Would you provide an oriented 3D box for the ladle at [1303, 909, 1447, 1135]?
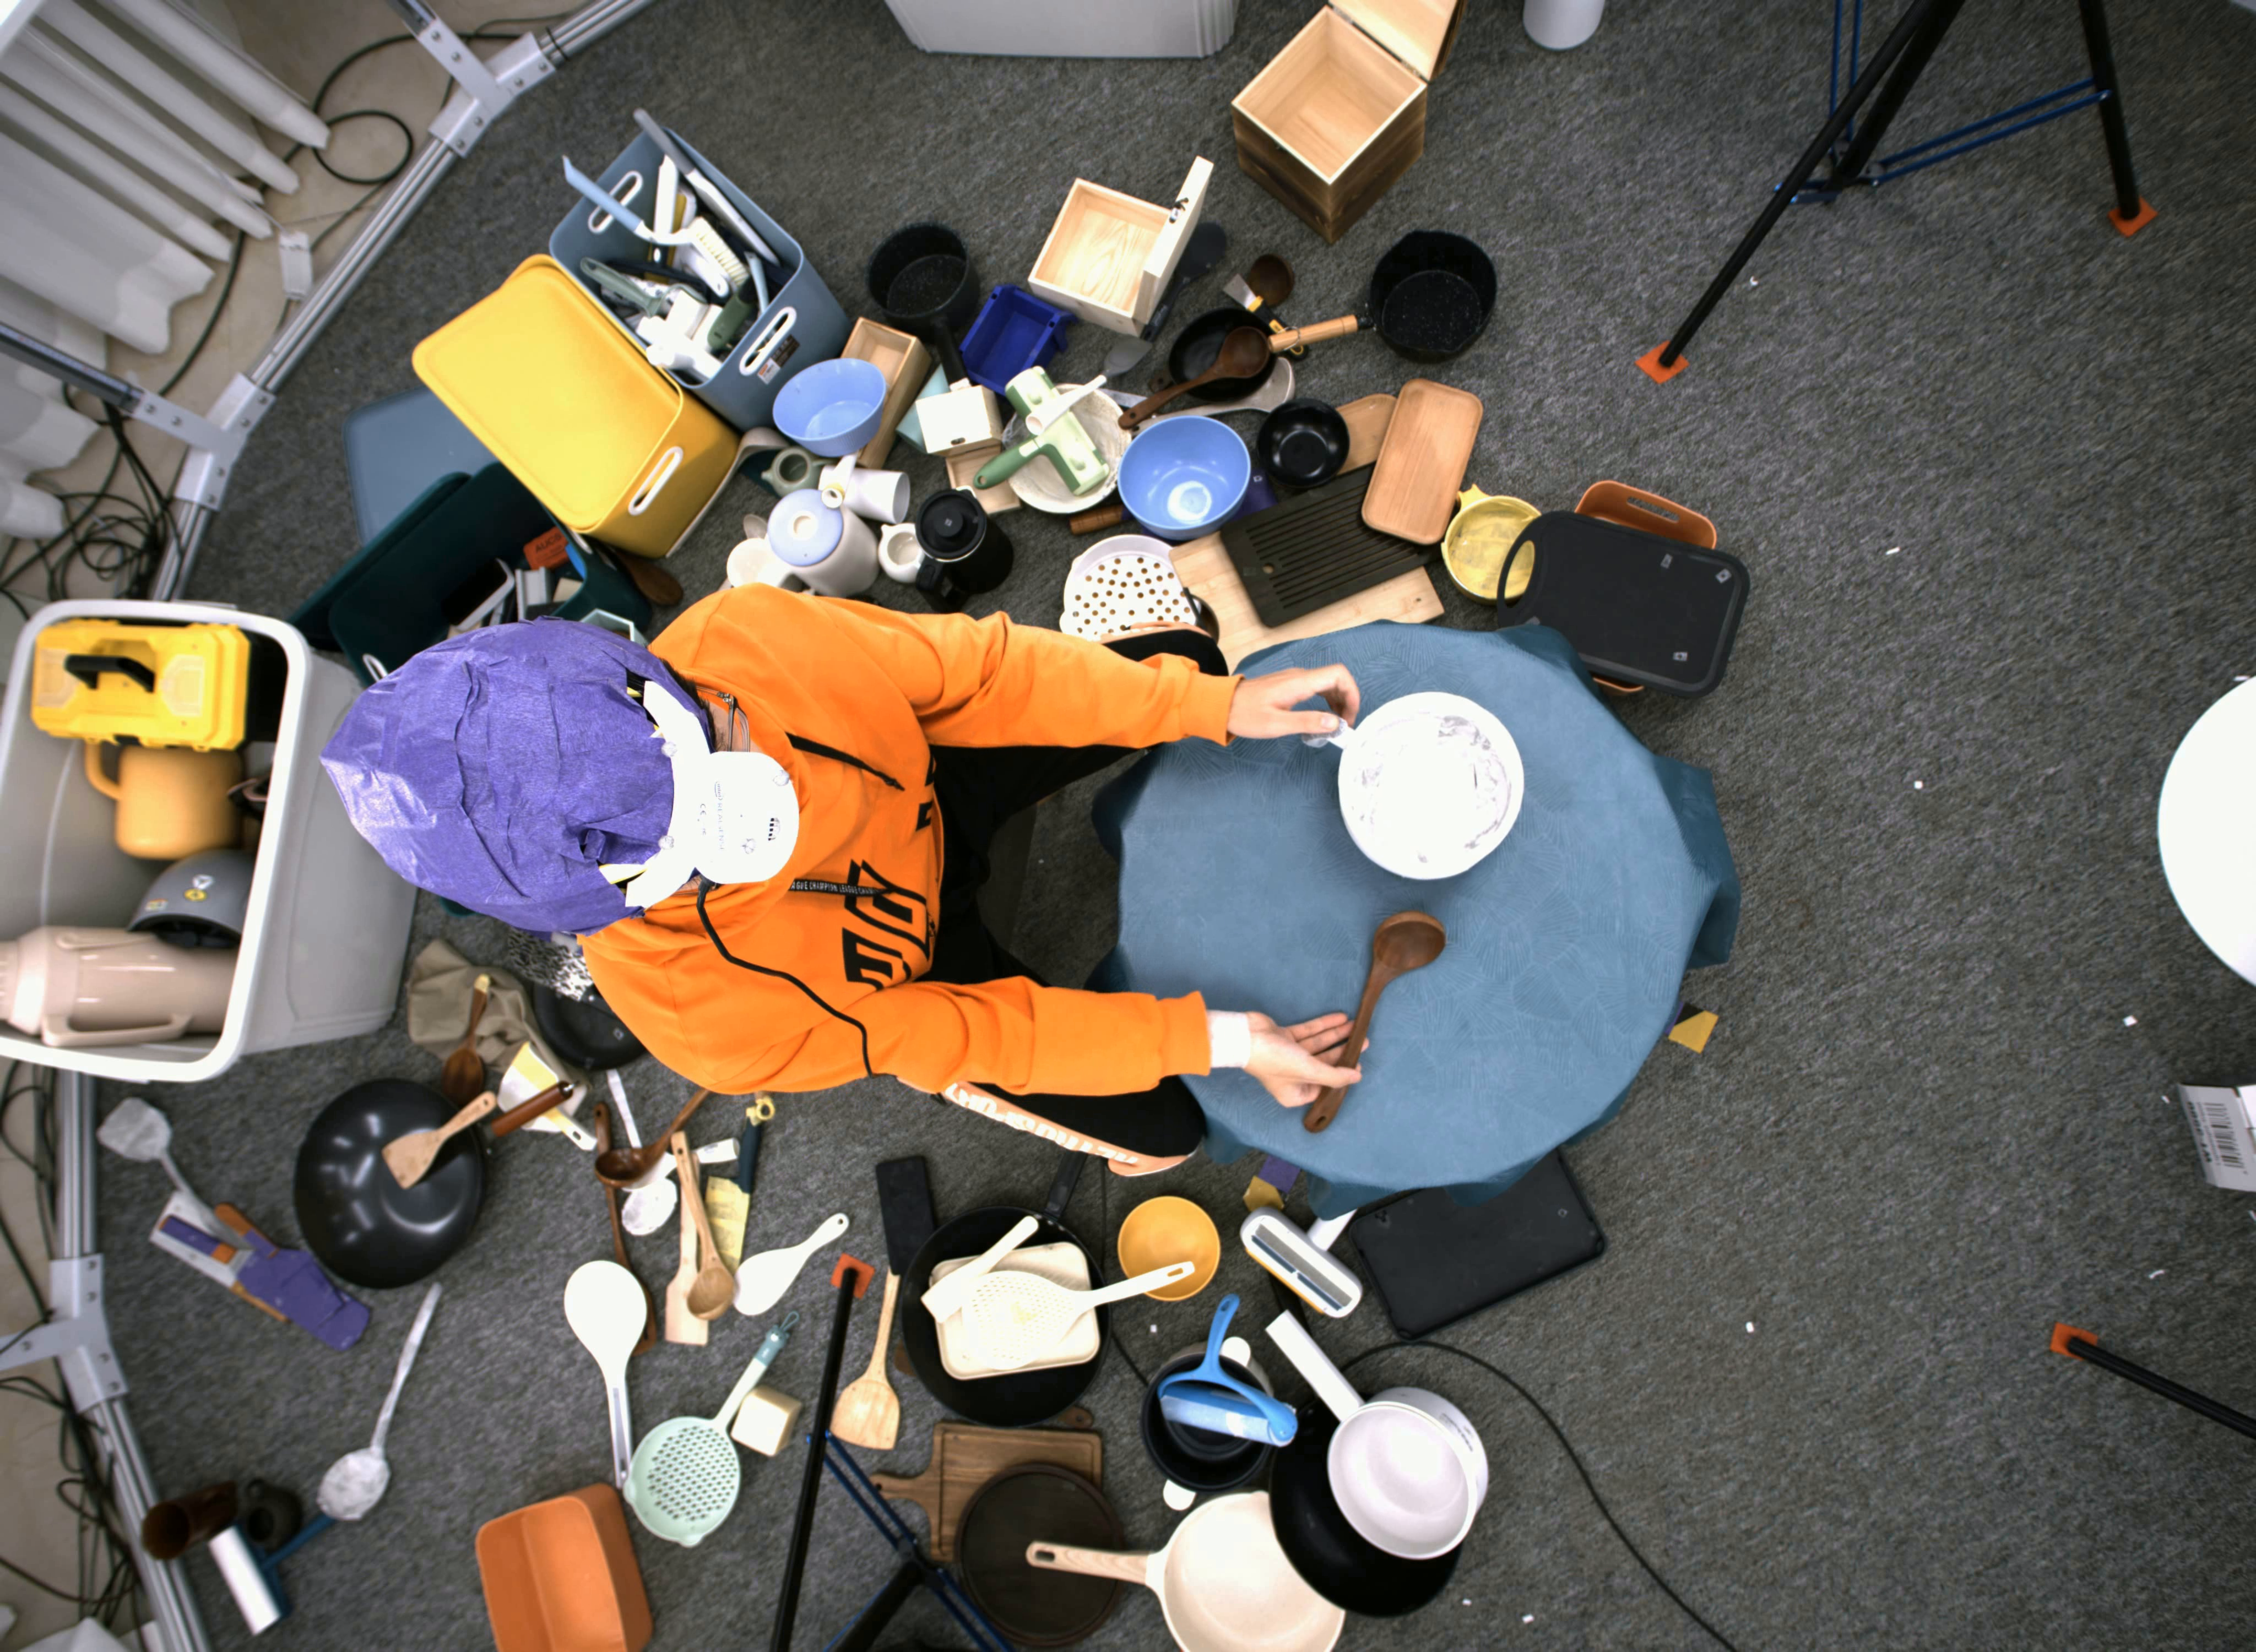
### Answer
[{"bbox_3d":[0.249,0.205,1.426,0.077,0.065,0.260,25,91,-14],"label":"ladle"}]

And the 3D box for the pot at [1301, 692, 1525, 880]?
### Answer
[{"bbox_3d":[0.279,-0.051,1.395,0.233,0.137,0.179,30,91,11],"label":"pot"}]
